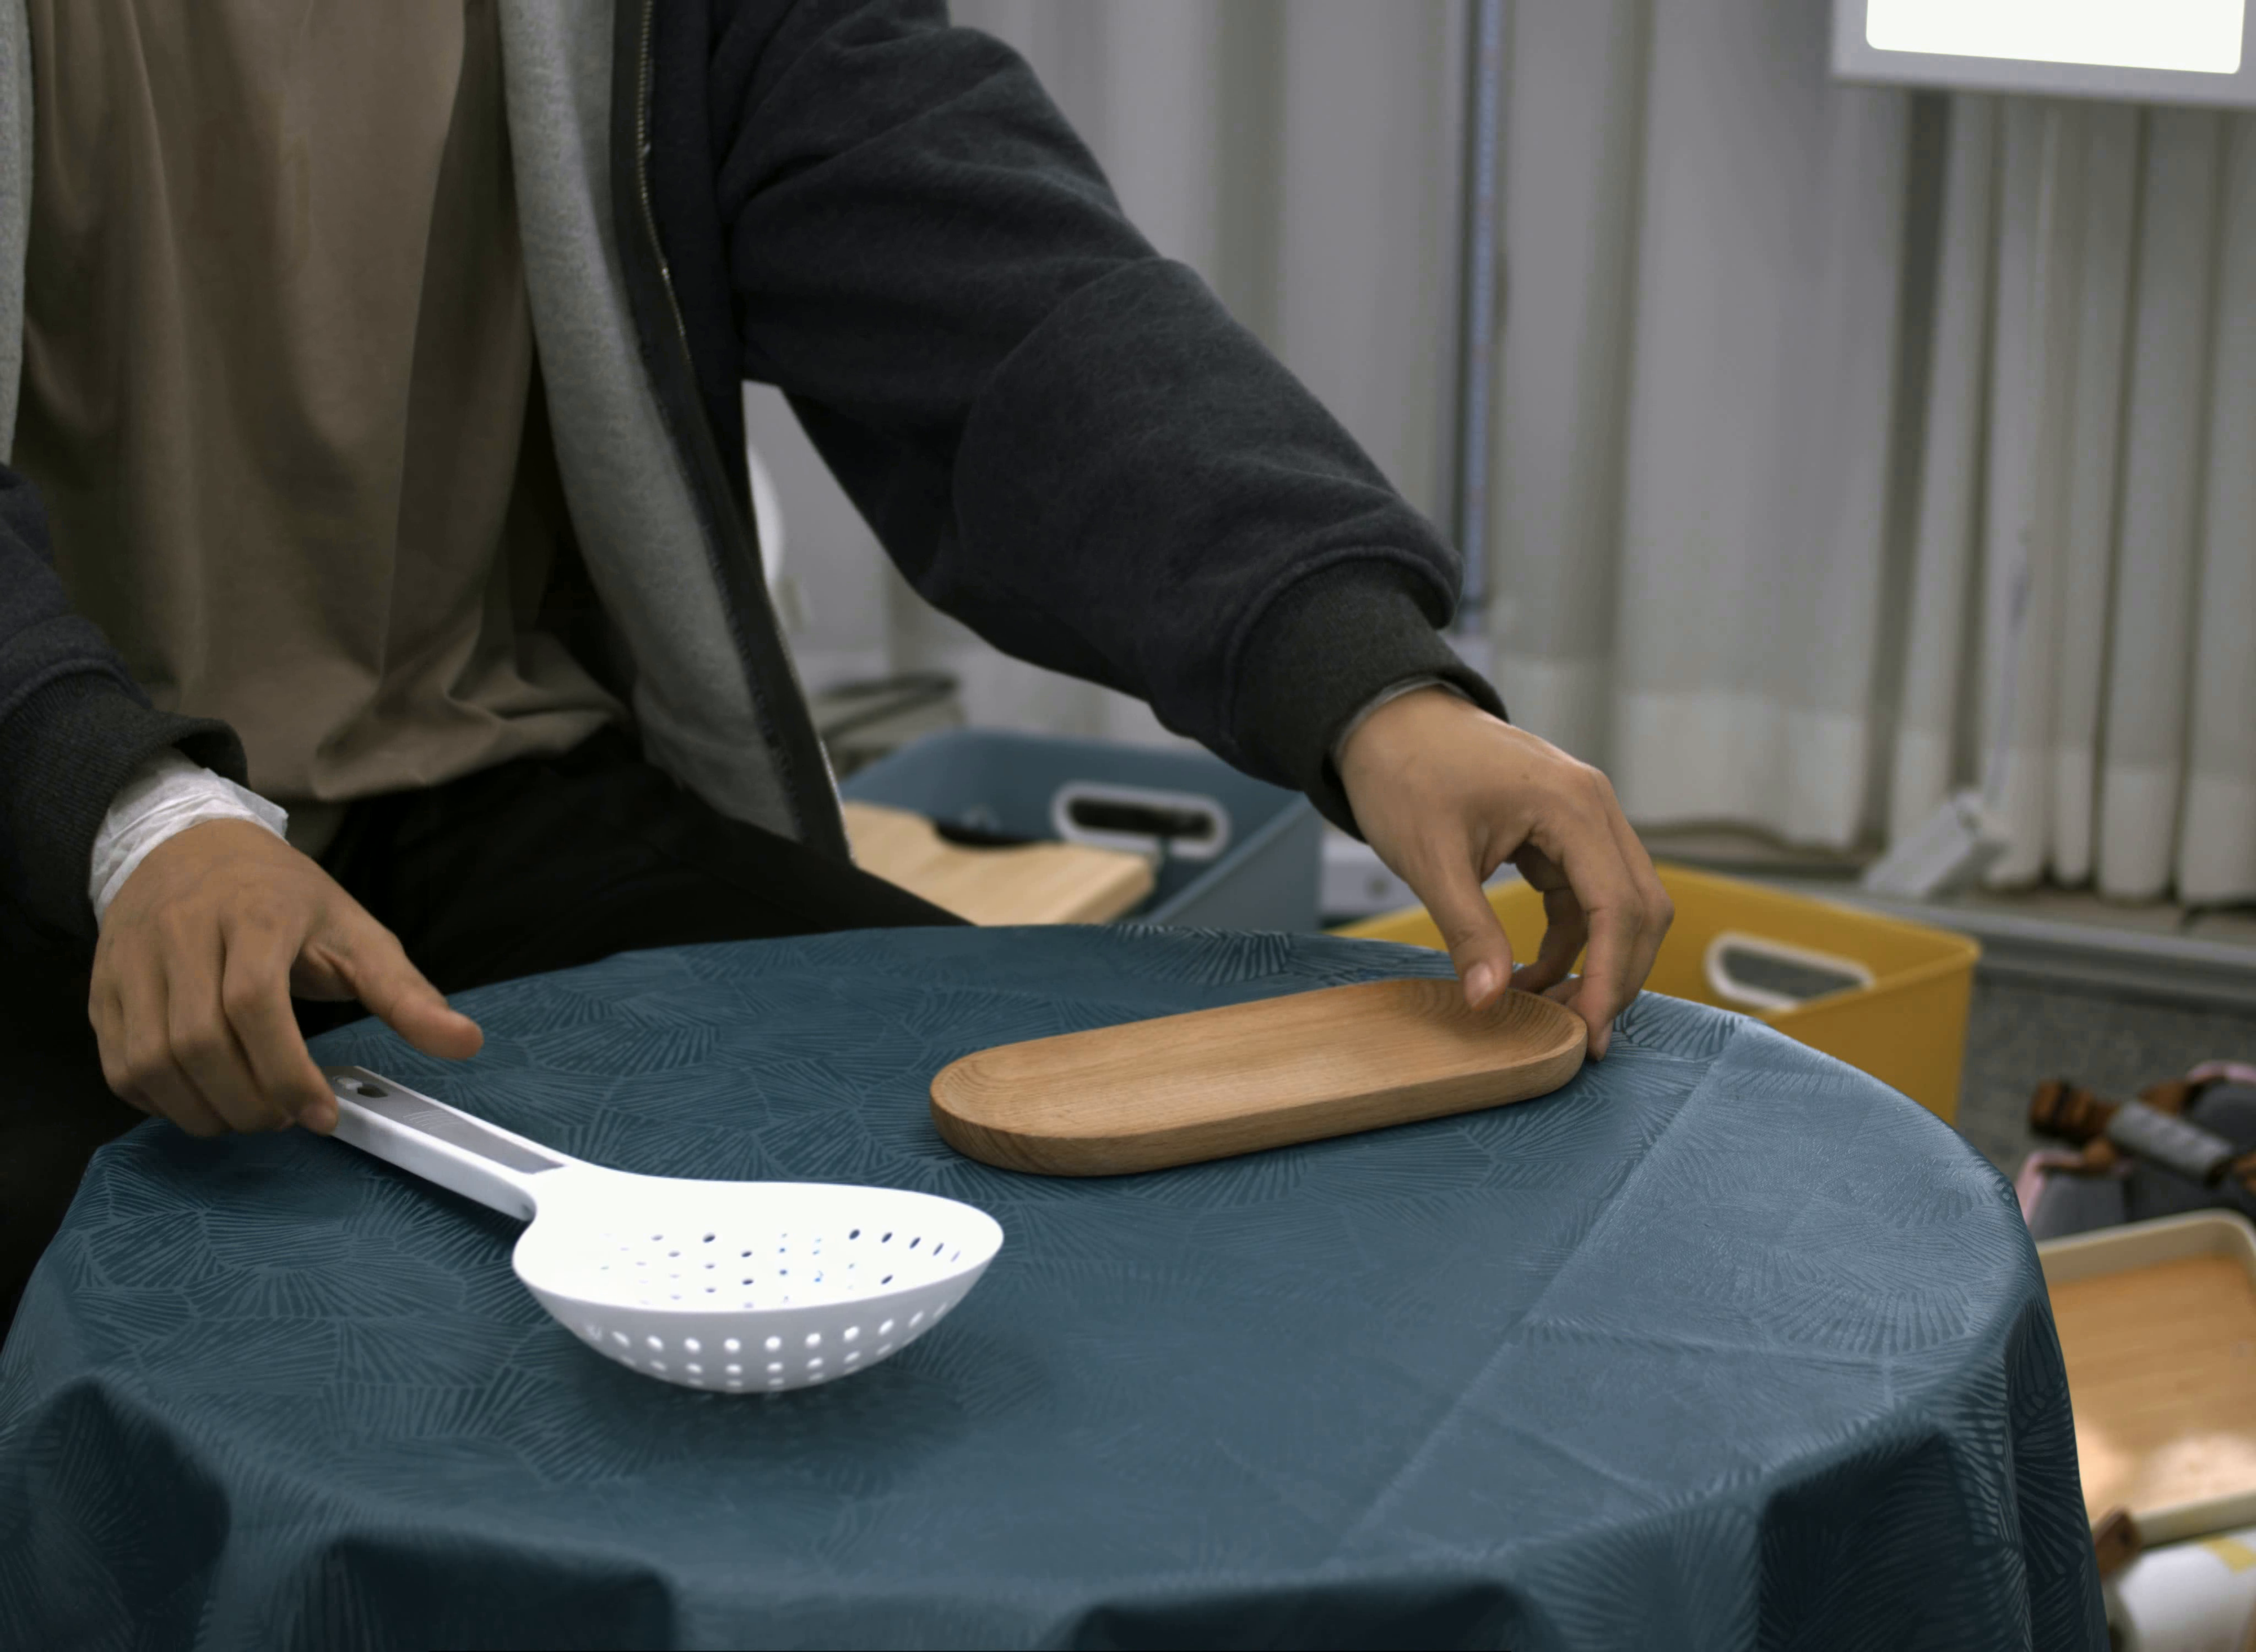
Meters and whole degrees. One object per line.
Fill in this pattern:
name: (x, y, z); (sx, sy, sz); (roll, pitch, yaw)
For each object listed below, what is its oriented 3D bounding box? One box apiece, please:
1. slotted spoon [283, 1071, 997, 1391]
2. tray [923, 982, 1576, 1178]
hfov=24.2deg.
slotted spoon: (-0.164, 0.109, 1.544); (0.137, 0.046, 0.345); (-8, 17, -34)
tray: (0.041, 0.082, 1.704); (0.232, 0.020, 0.100); (-10, 17, -30)
